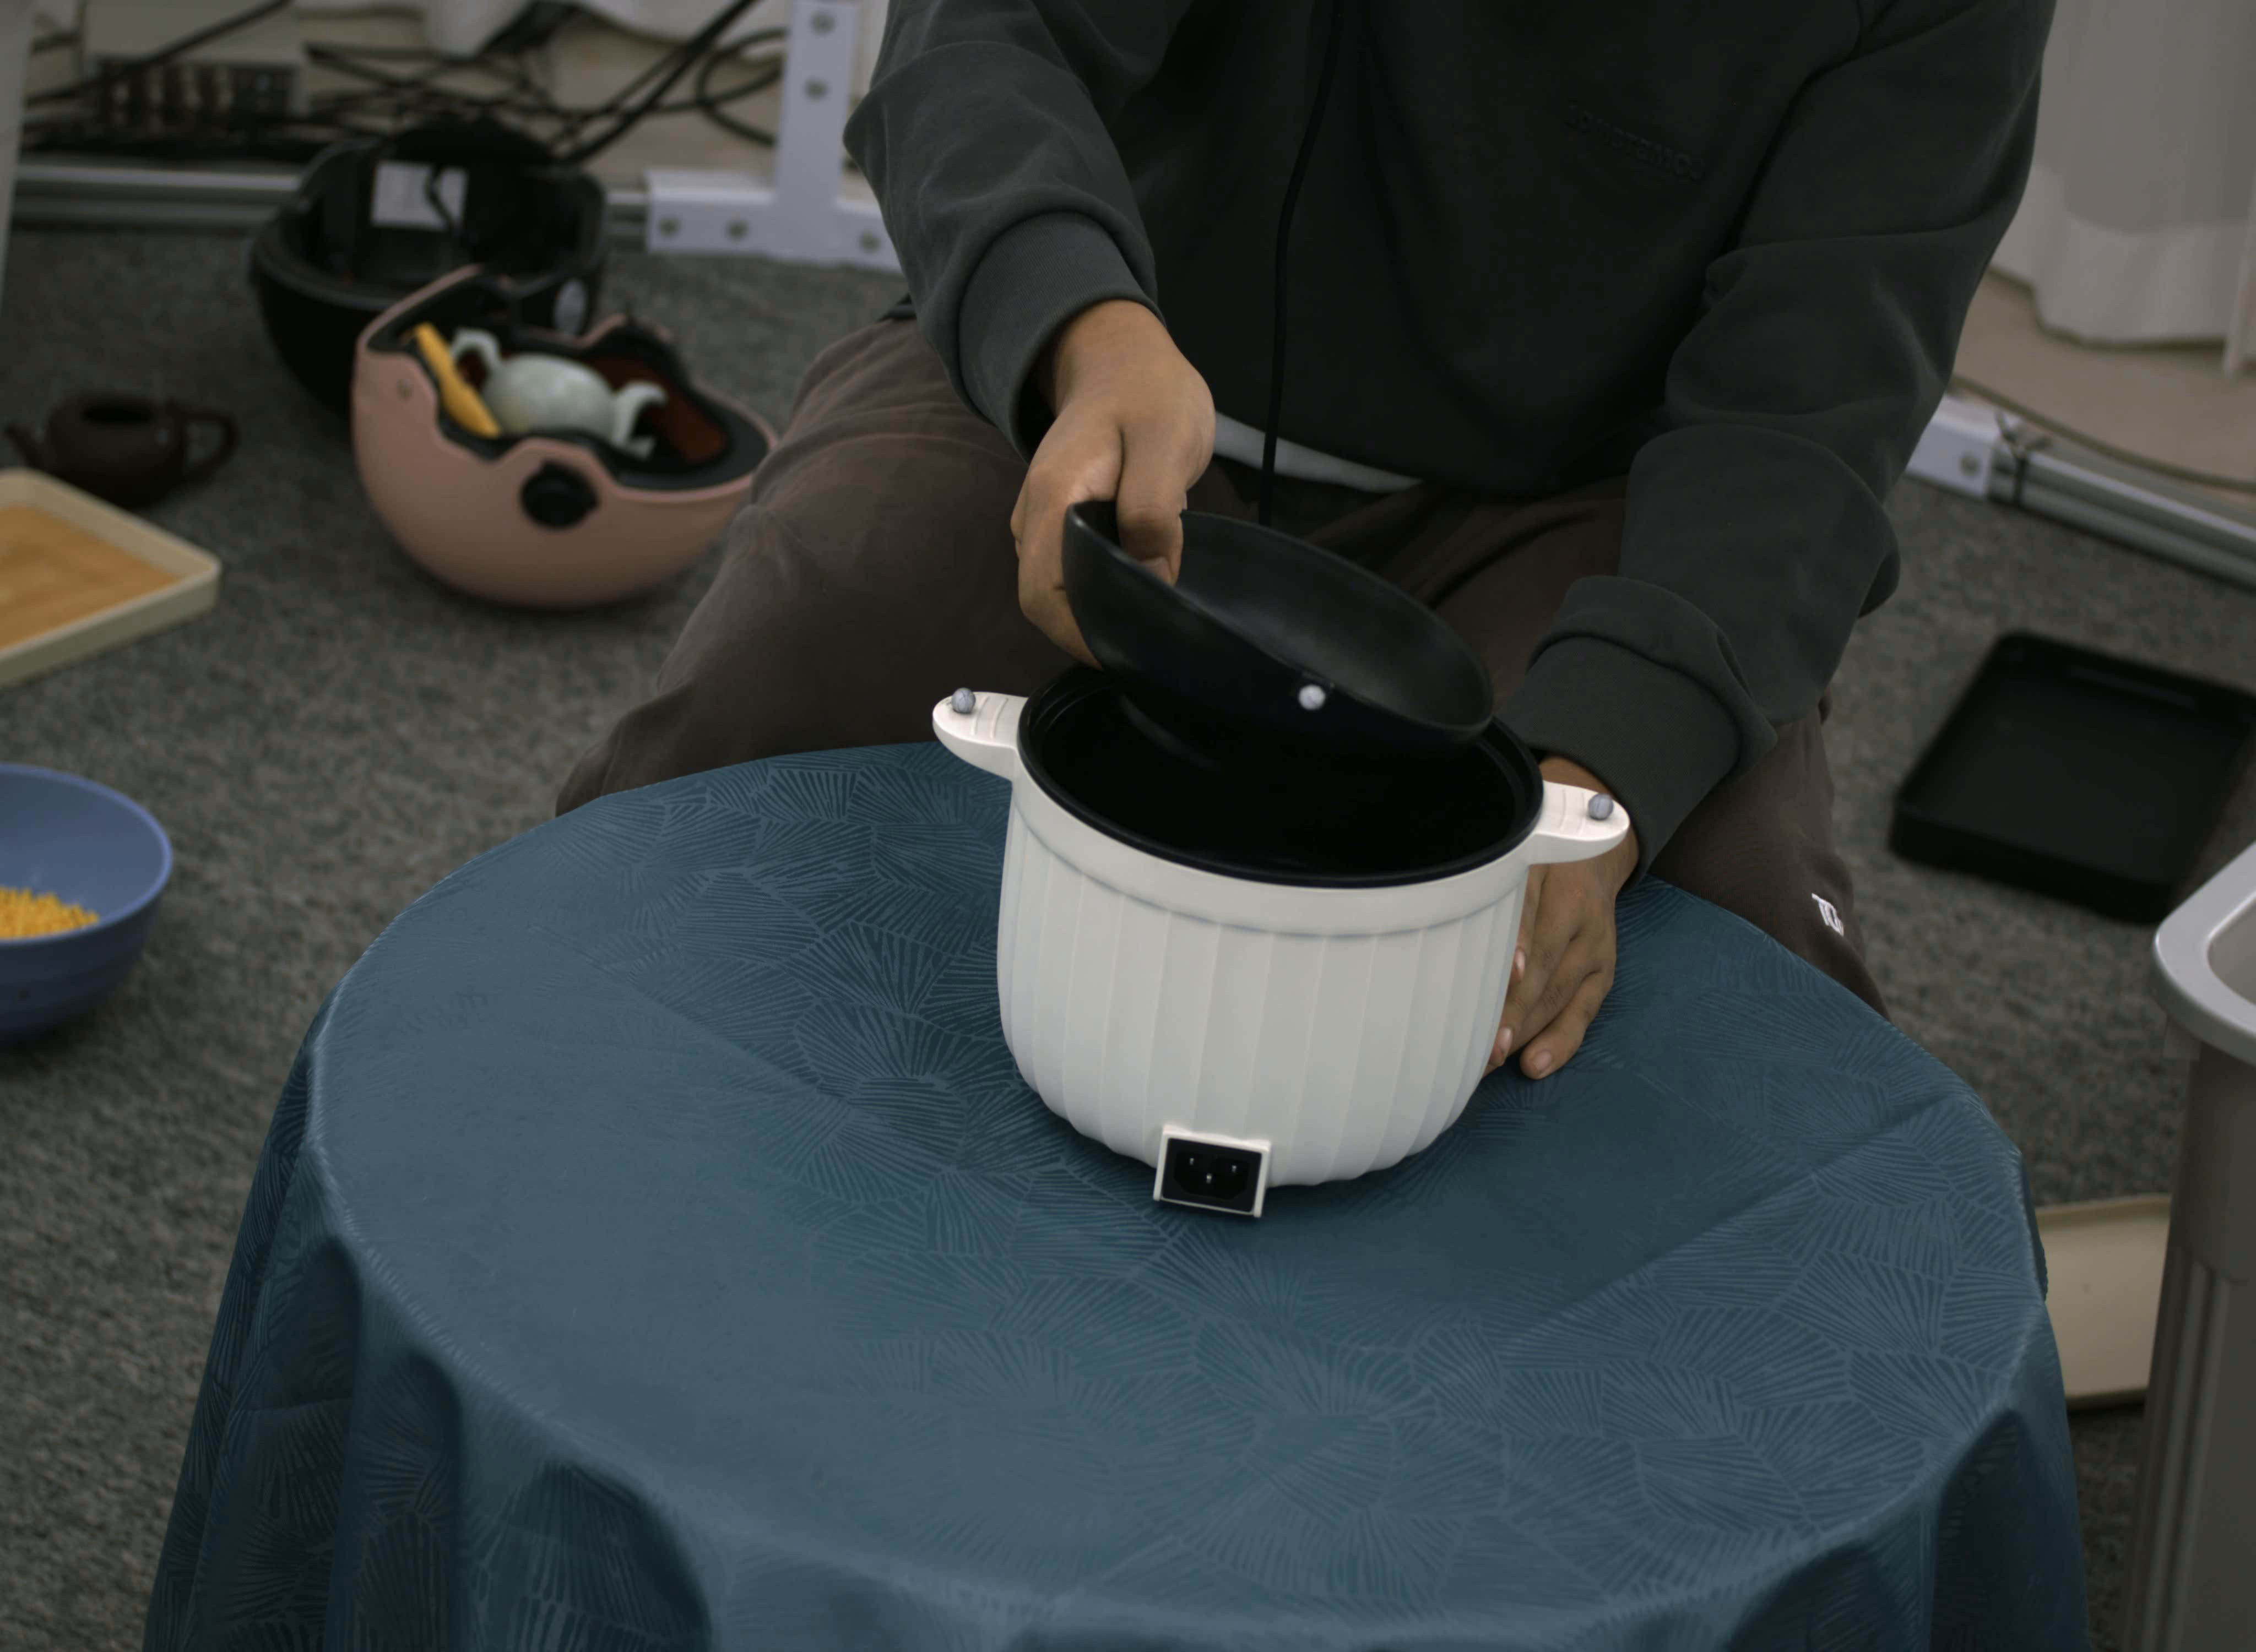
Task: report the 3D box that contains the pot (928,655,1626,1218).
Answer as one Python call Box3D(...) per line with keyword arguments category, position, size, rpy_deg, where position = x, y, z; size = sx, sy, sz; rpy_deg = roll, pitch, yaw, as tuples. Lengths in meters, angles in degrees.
Box3D(category="pot", position=(0.043, 0.032, 1.846), size=(0.240, 0.142, 0.191), rpy_deg=(10, 30, 3))

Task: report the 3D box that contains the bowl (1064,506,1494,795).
Box3D(category="bowl", position=(0.040, -0.054, 1.809), size=(0.171, 0.066, 0.136), rpy_deg=(35, 20, 29))
